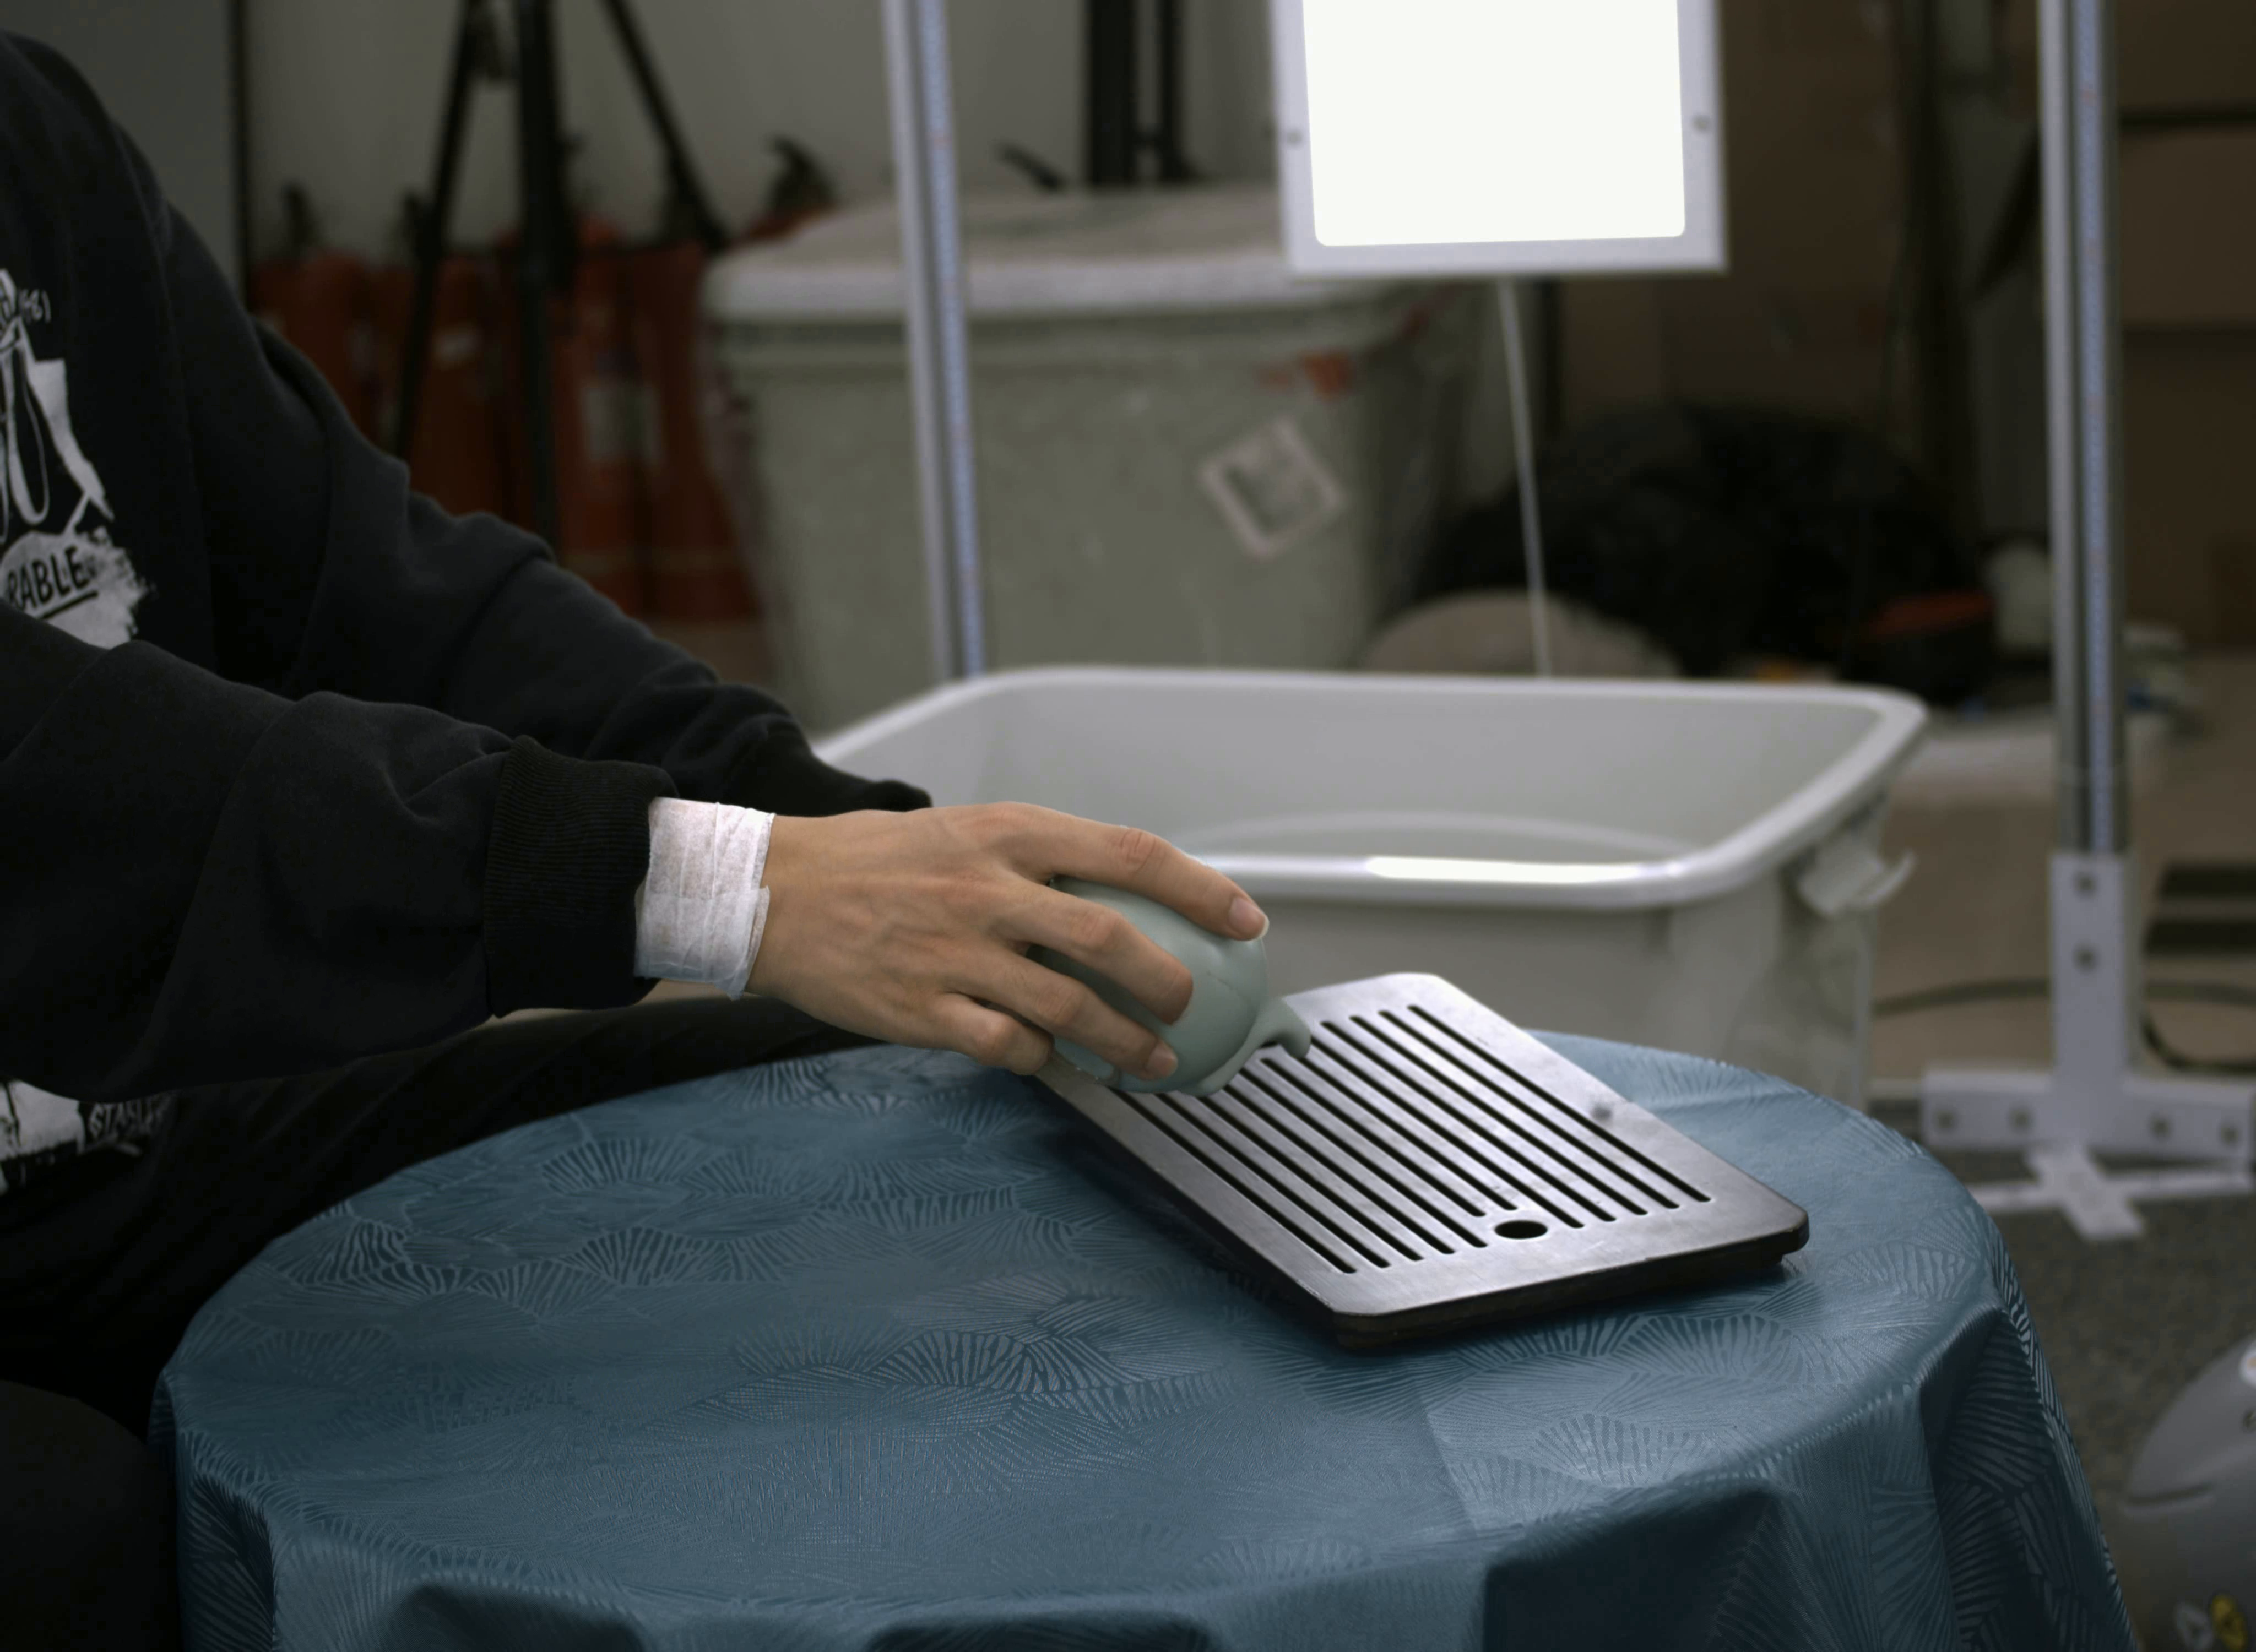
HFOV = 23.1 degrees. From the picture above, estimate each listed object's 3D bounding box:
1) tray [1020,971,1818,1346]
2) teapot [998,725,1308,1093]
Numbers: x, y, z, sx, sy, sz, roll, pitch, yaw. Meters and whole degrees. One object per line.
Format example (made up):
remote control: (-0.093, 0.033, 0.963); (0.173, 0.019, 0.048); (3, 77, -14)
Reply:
tray: (0.092, 0.109, 1.867); (0.167, 0.019, 0.310); (-10, 18, -19)
teapot: (0.001, 0.042, 1.778); (0.073, 0.143, 0.090); (-46, 25, -23)
